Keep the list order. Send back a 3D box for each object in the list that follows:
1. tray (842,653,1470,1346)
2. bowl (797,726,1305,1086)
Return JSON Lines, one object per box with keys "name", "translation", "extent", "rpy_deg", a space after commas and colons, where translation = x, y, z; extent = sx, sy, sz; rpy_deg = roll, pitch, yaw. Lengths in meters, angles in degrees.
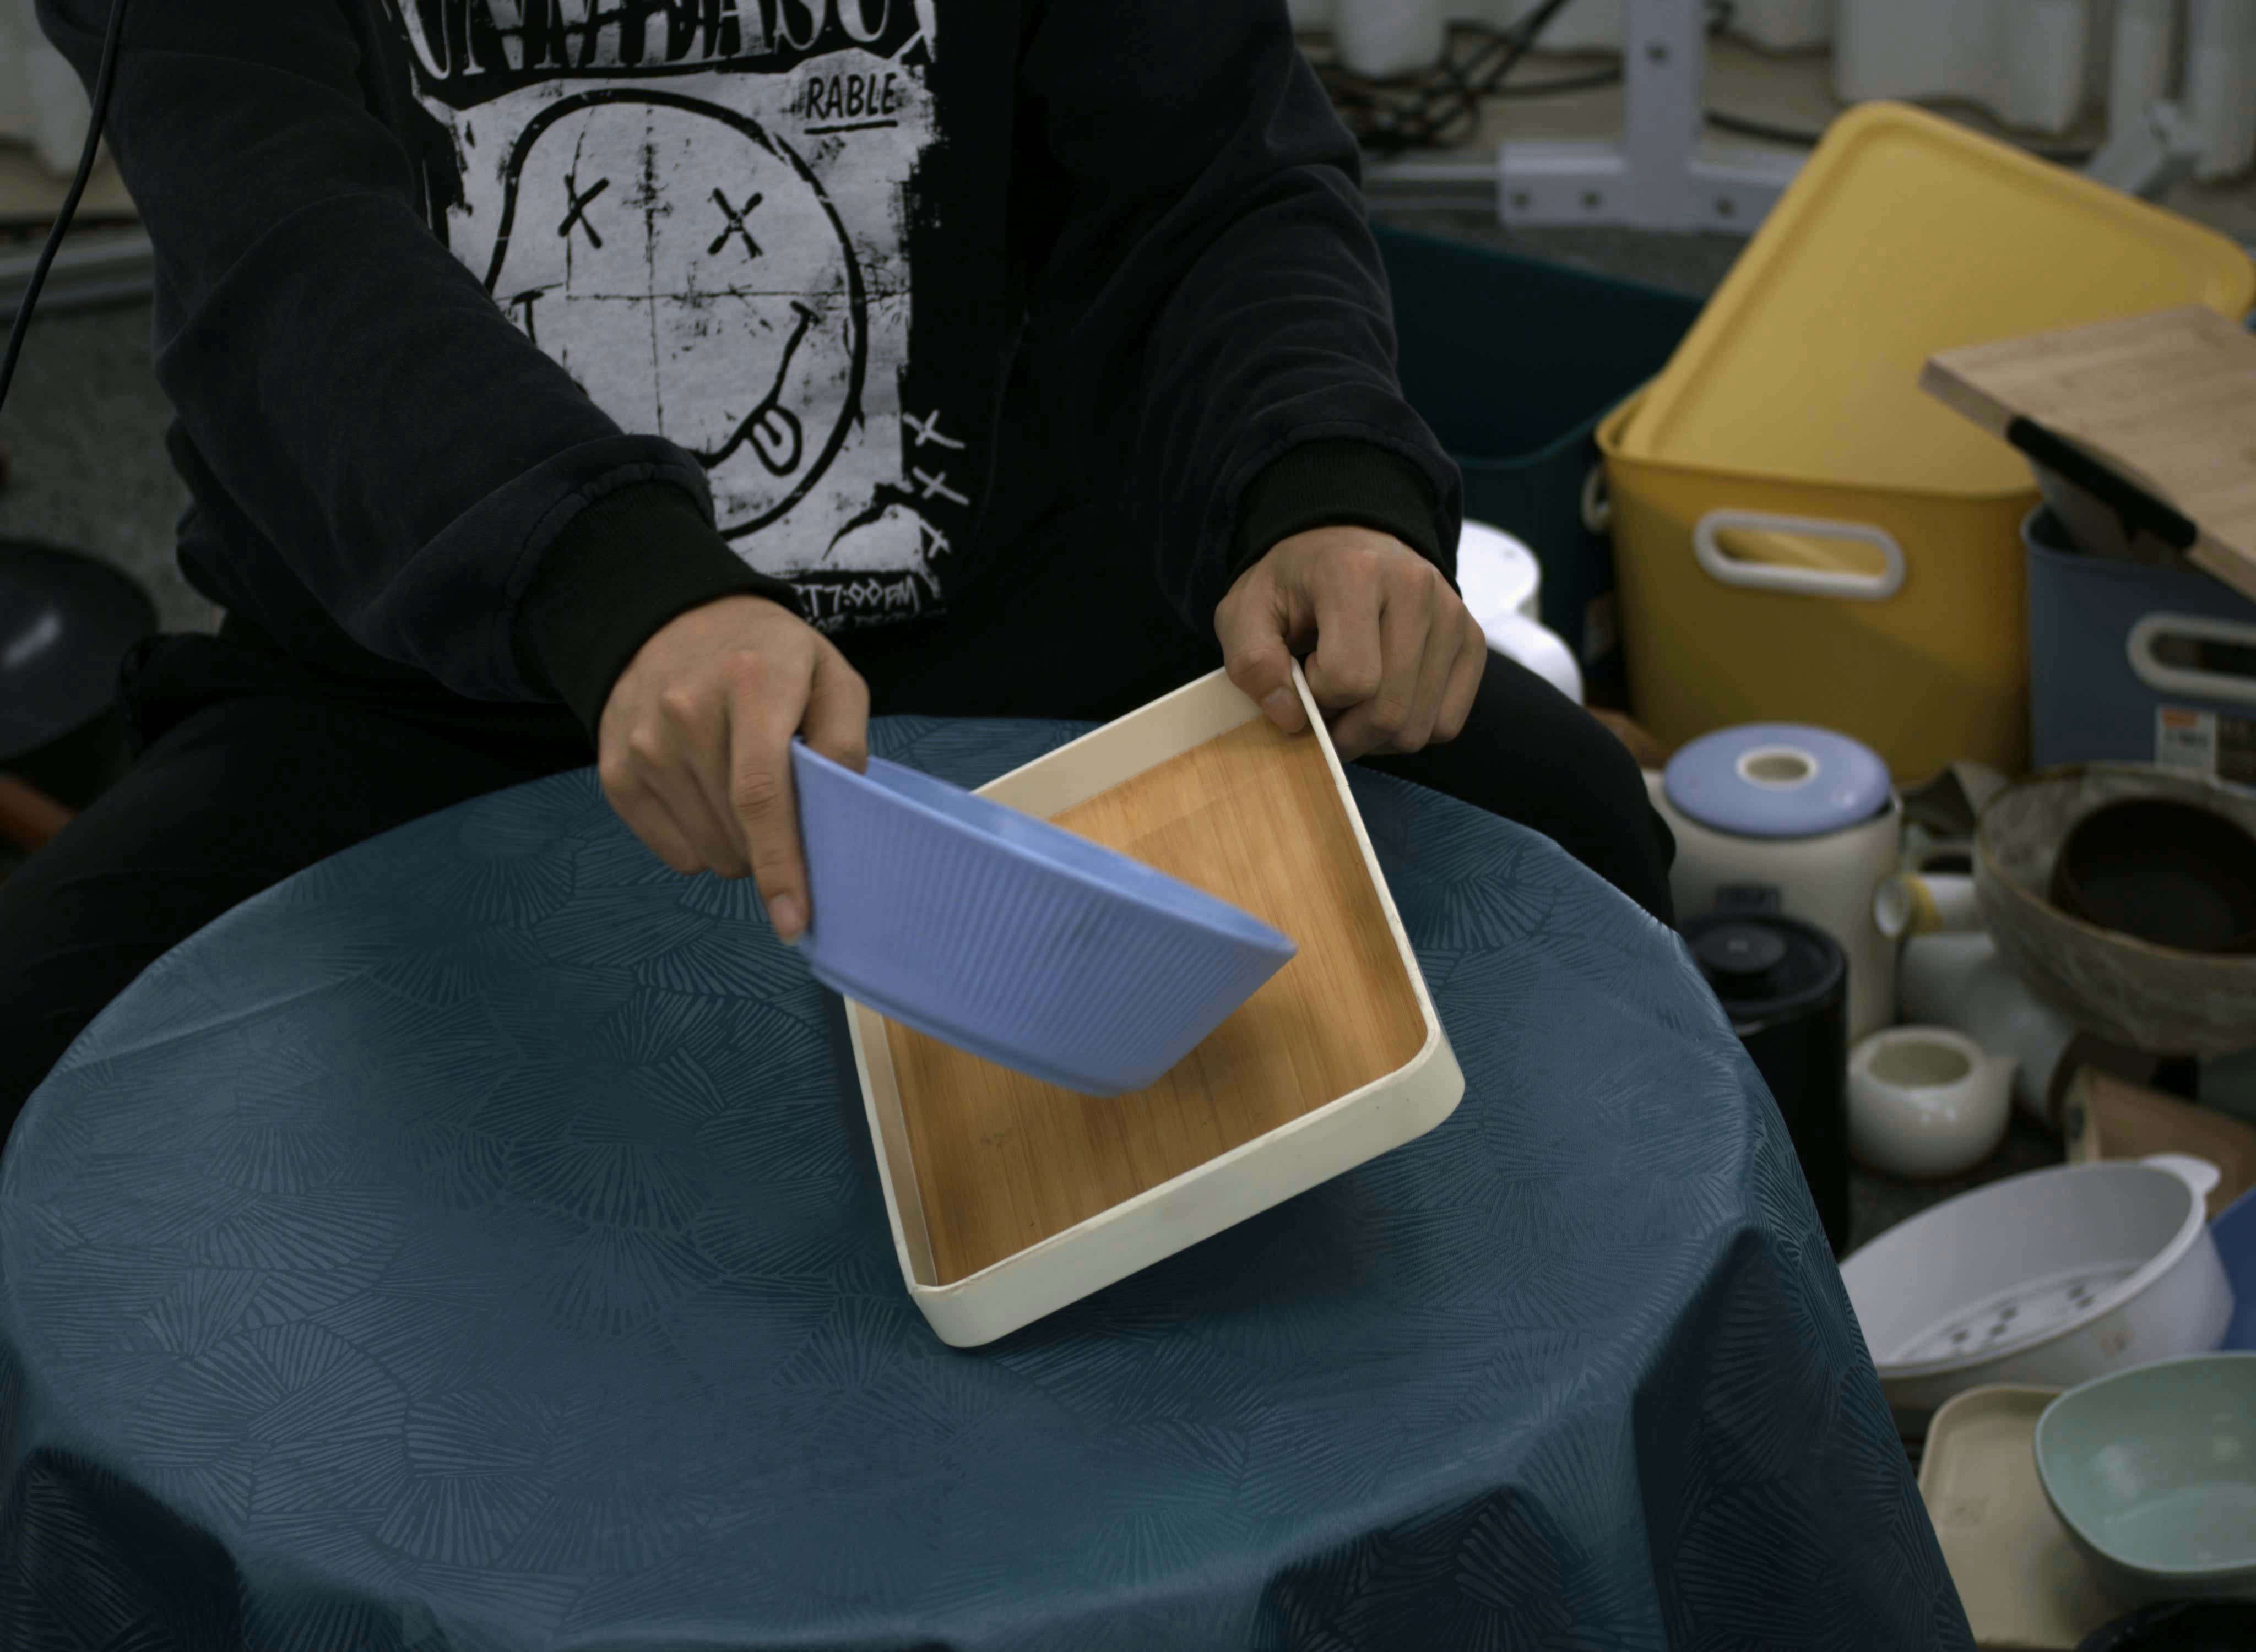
{"name": "tray", "translation": [0.001, 0.053, 1.894], "extent": [0.191, 0.027, 0.304], "rpy_deg": [-26, 28, 4]}
{"name": "bowl", "translation": [-0.036, 0.031, 1.793], "extent": [0.175, 0.070, 0.176], "rpy_deg": [23, 2, 0]}
